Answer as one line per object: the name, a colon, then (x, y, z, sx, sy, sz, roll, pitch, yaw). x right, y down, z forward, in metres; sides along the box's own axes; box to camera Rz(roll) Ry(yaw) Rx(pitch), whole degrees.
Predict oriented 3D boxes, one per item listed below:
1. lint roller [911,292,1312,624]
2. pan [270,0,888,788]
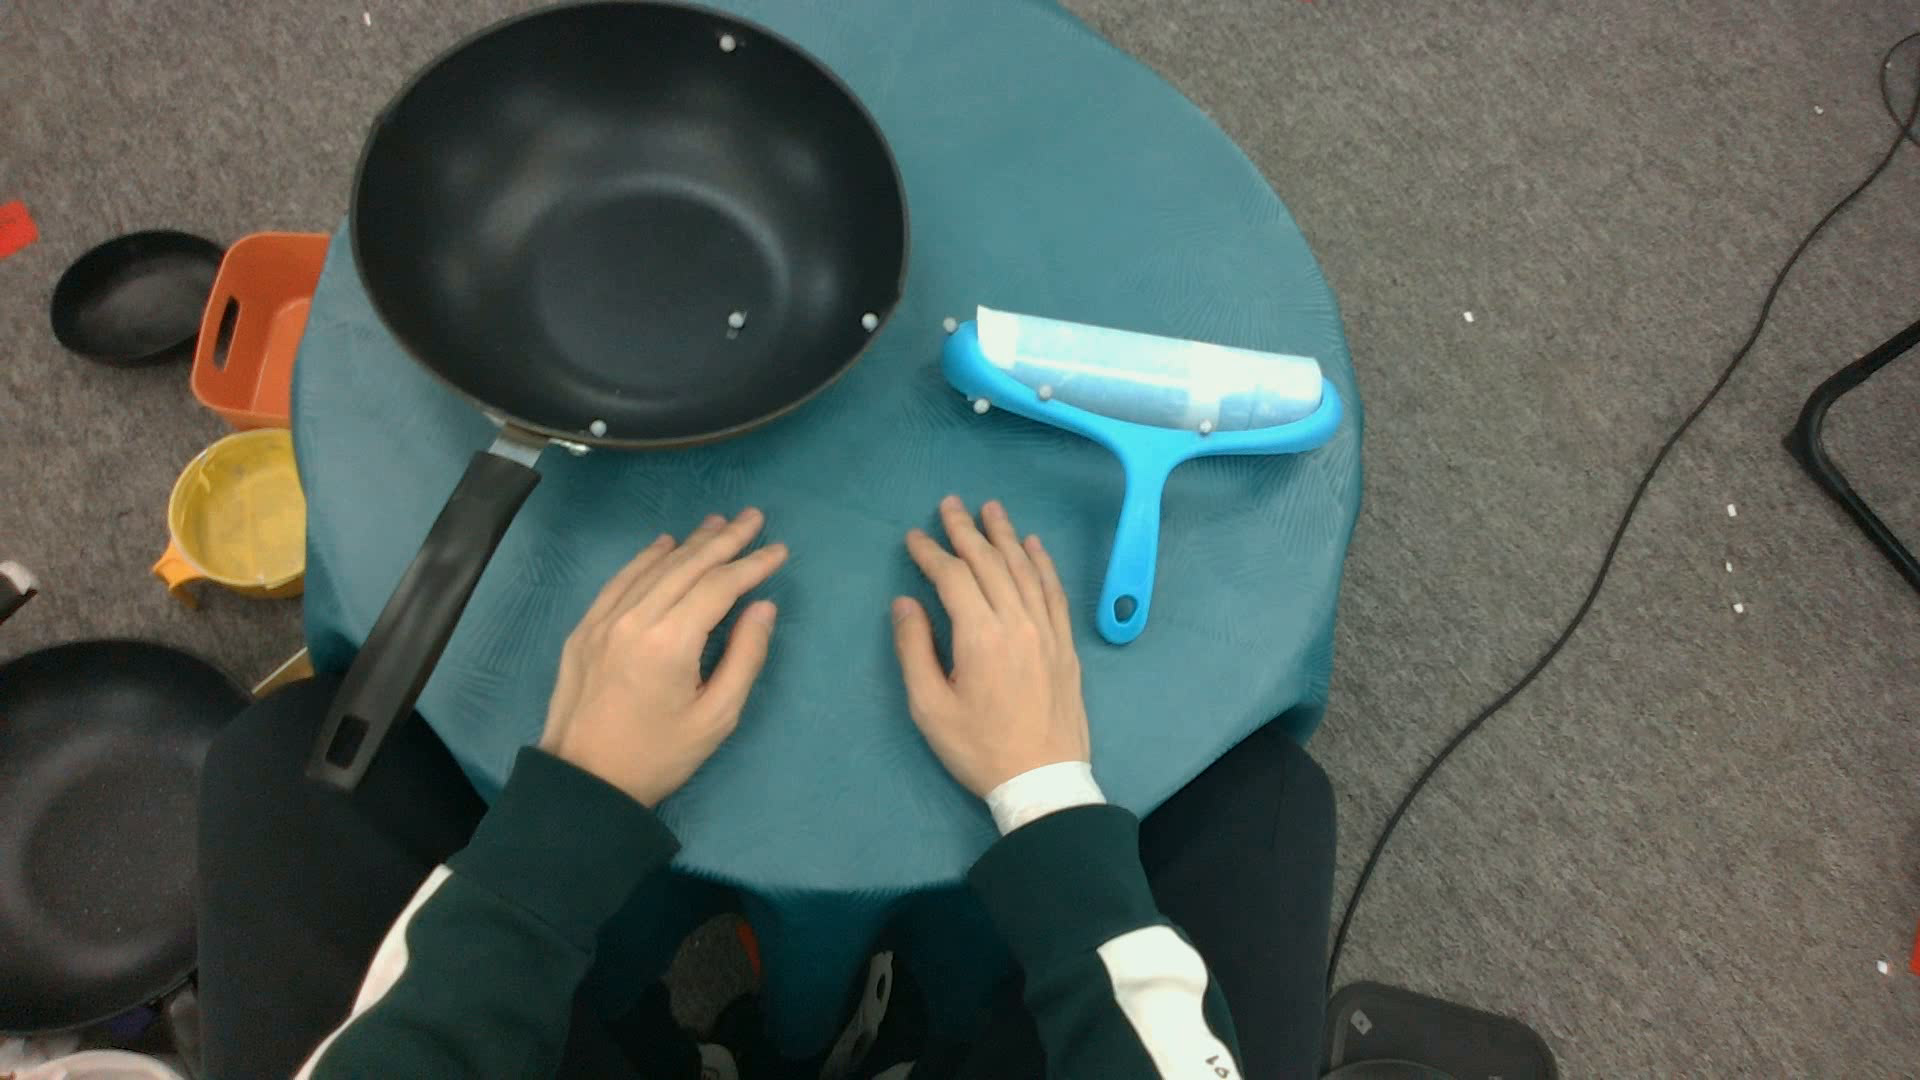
lint roller: (0.086, -0.048, 0.753, 0.229, 0.067, 0.181, 5, 65, -9)
pan: (-0.211, -0.084, 0.710, 0.288, 0.086, 0.465, 19, 67, 0)
